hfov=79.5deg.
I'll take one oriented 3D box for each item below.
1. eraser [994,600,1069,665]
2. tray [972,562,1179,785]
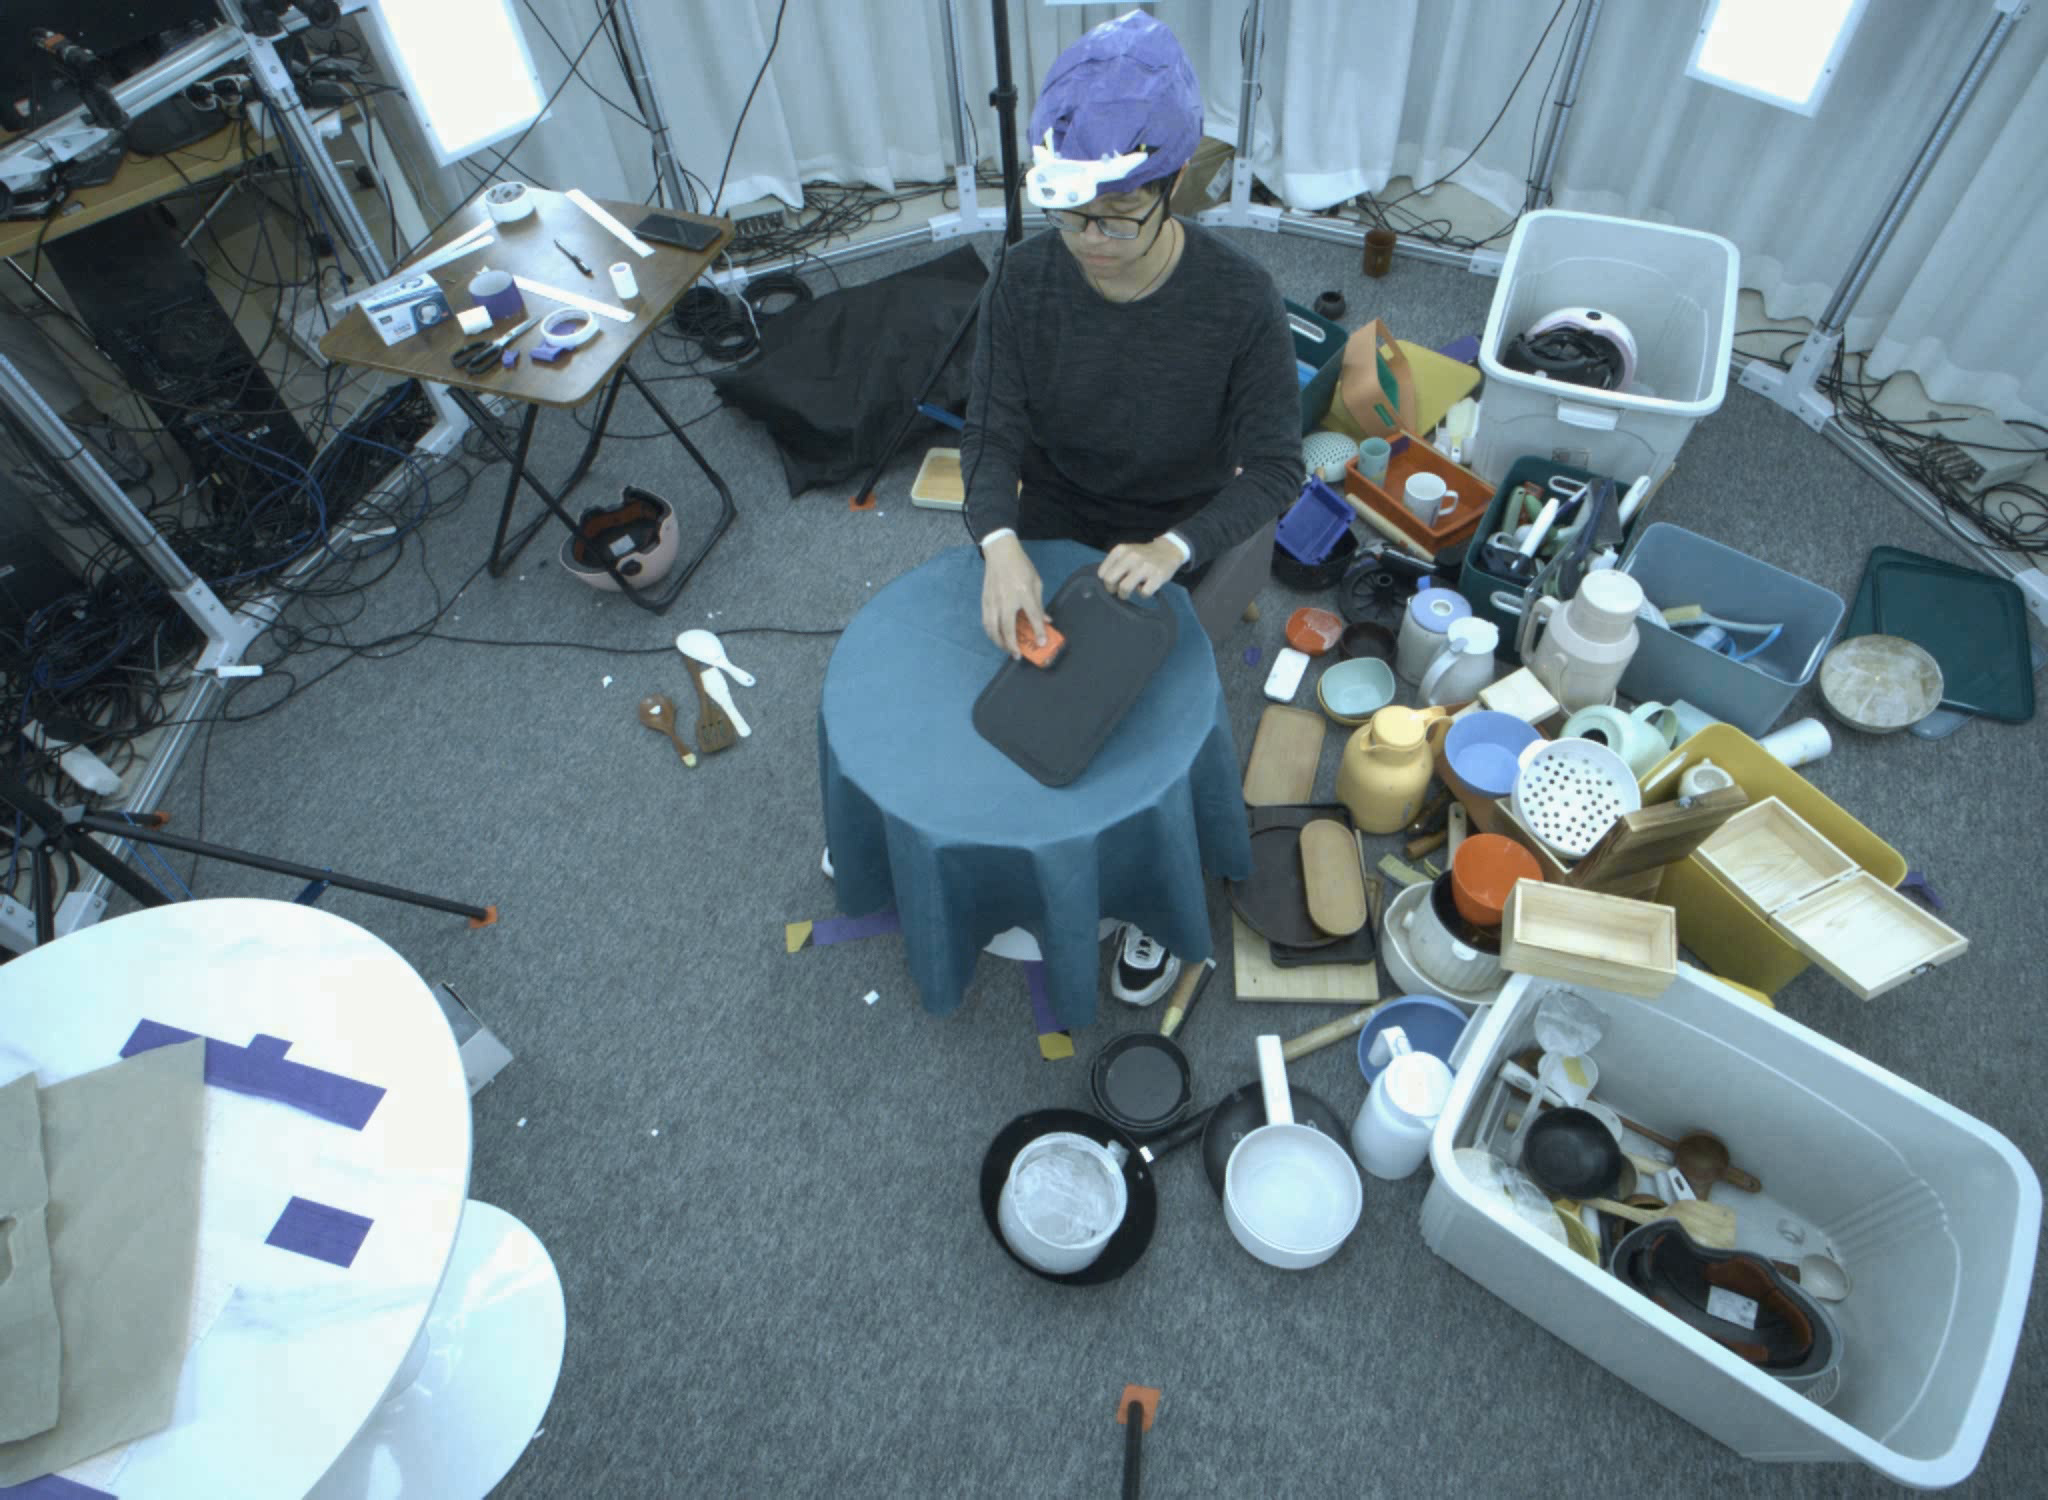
[{"bbox_3d":[0.010,-0.172,1.803,0.106,0.023,0.059,36,86,27],"label":"eraser"},{"bbox_3d":[0.075,-0.120,1.775,0.207,0.010,0.325,39,93,25],"label":"tray"}]
